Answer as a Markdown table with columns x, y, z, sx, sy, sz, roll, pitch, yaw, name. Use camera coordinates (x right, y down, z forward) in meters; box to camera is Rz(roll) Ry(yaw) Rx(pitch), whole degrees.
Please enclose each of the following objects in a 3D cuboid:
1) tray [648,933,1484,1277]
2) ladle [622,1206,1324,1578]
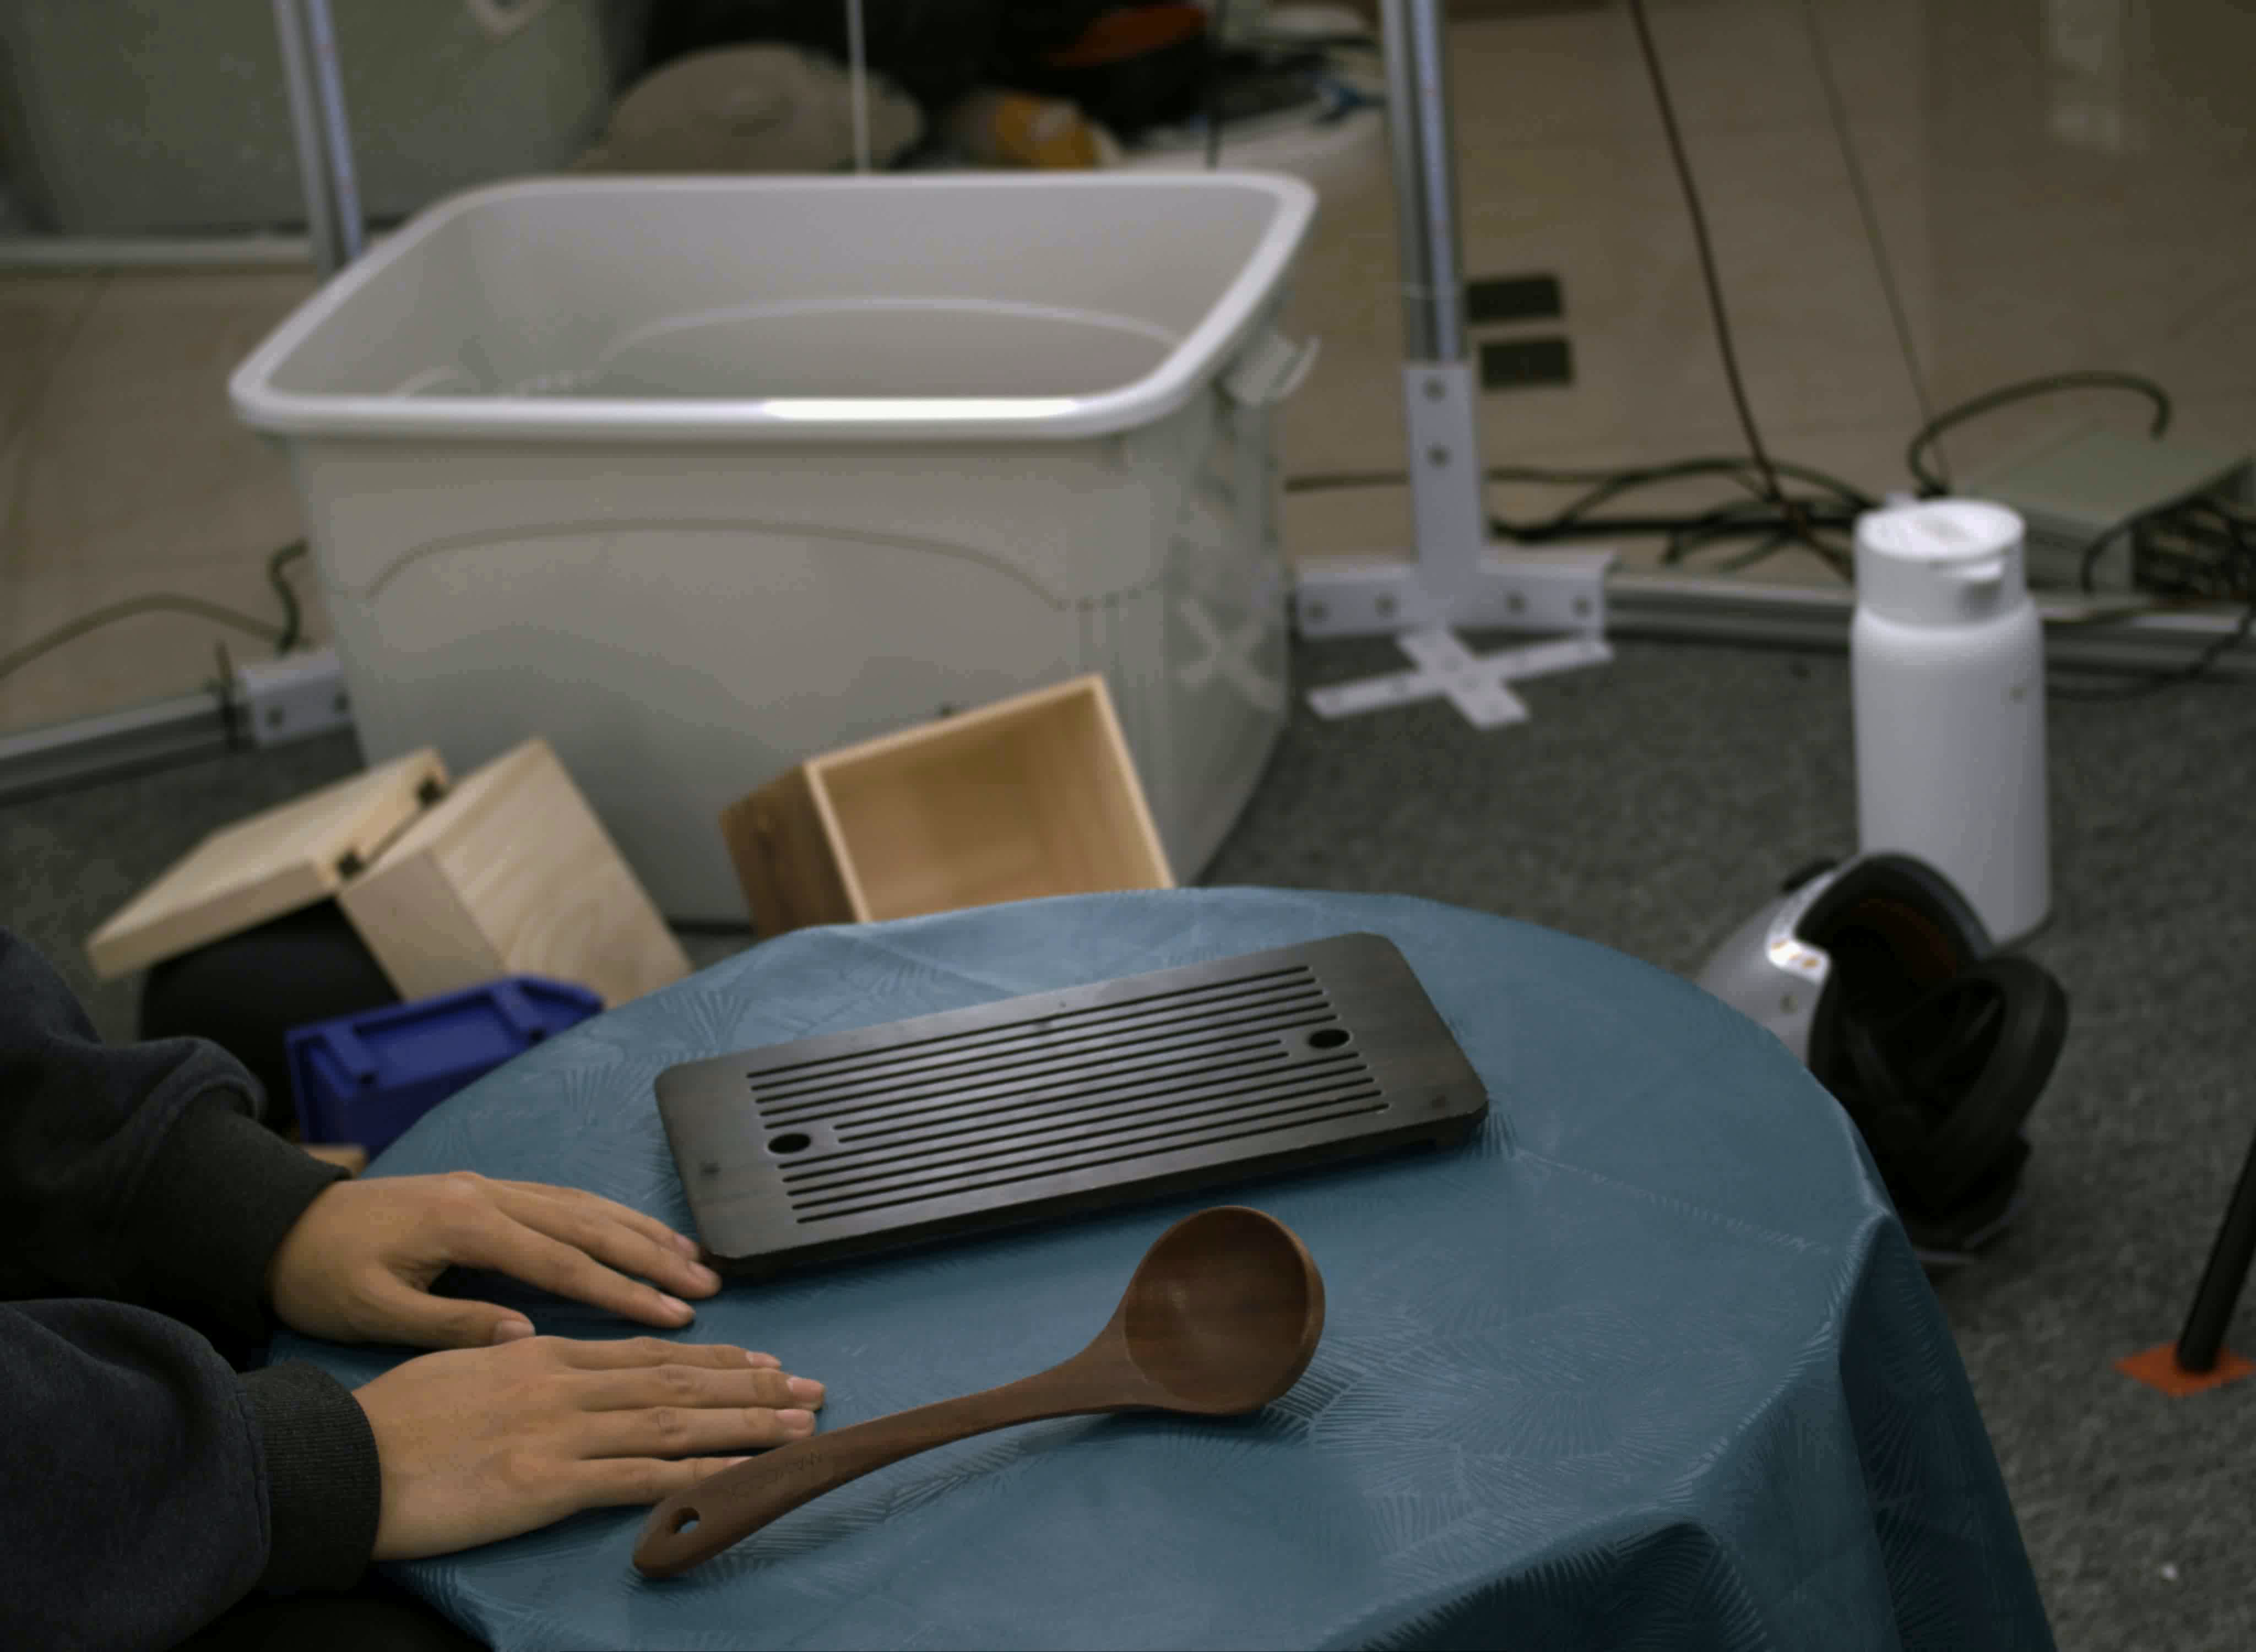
| x | y | z | sx | sy | sz | roll | pitch | yaw | name |
| --- | --- | --- | --- | --- | --- | --- | --- | --- | --- |
| -0.027 | 0.107 | 2.200 | 0.305 | 0.019 | 0.168 | -11 | 25 | -8 | tray |
| -0.053 | 0.198 | 1.960 | 0.259 | 0.066 | 0.075 | -16 | 54 | -21 | ladle |
